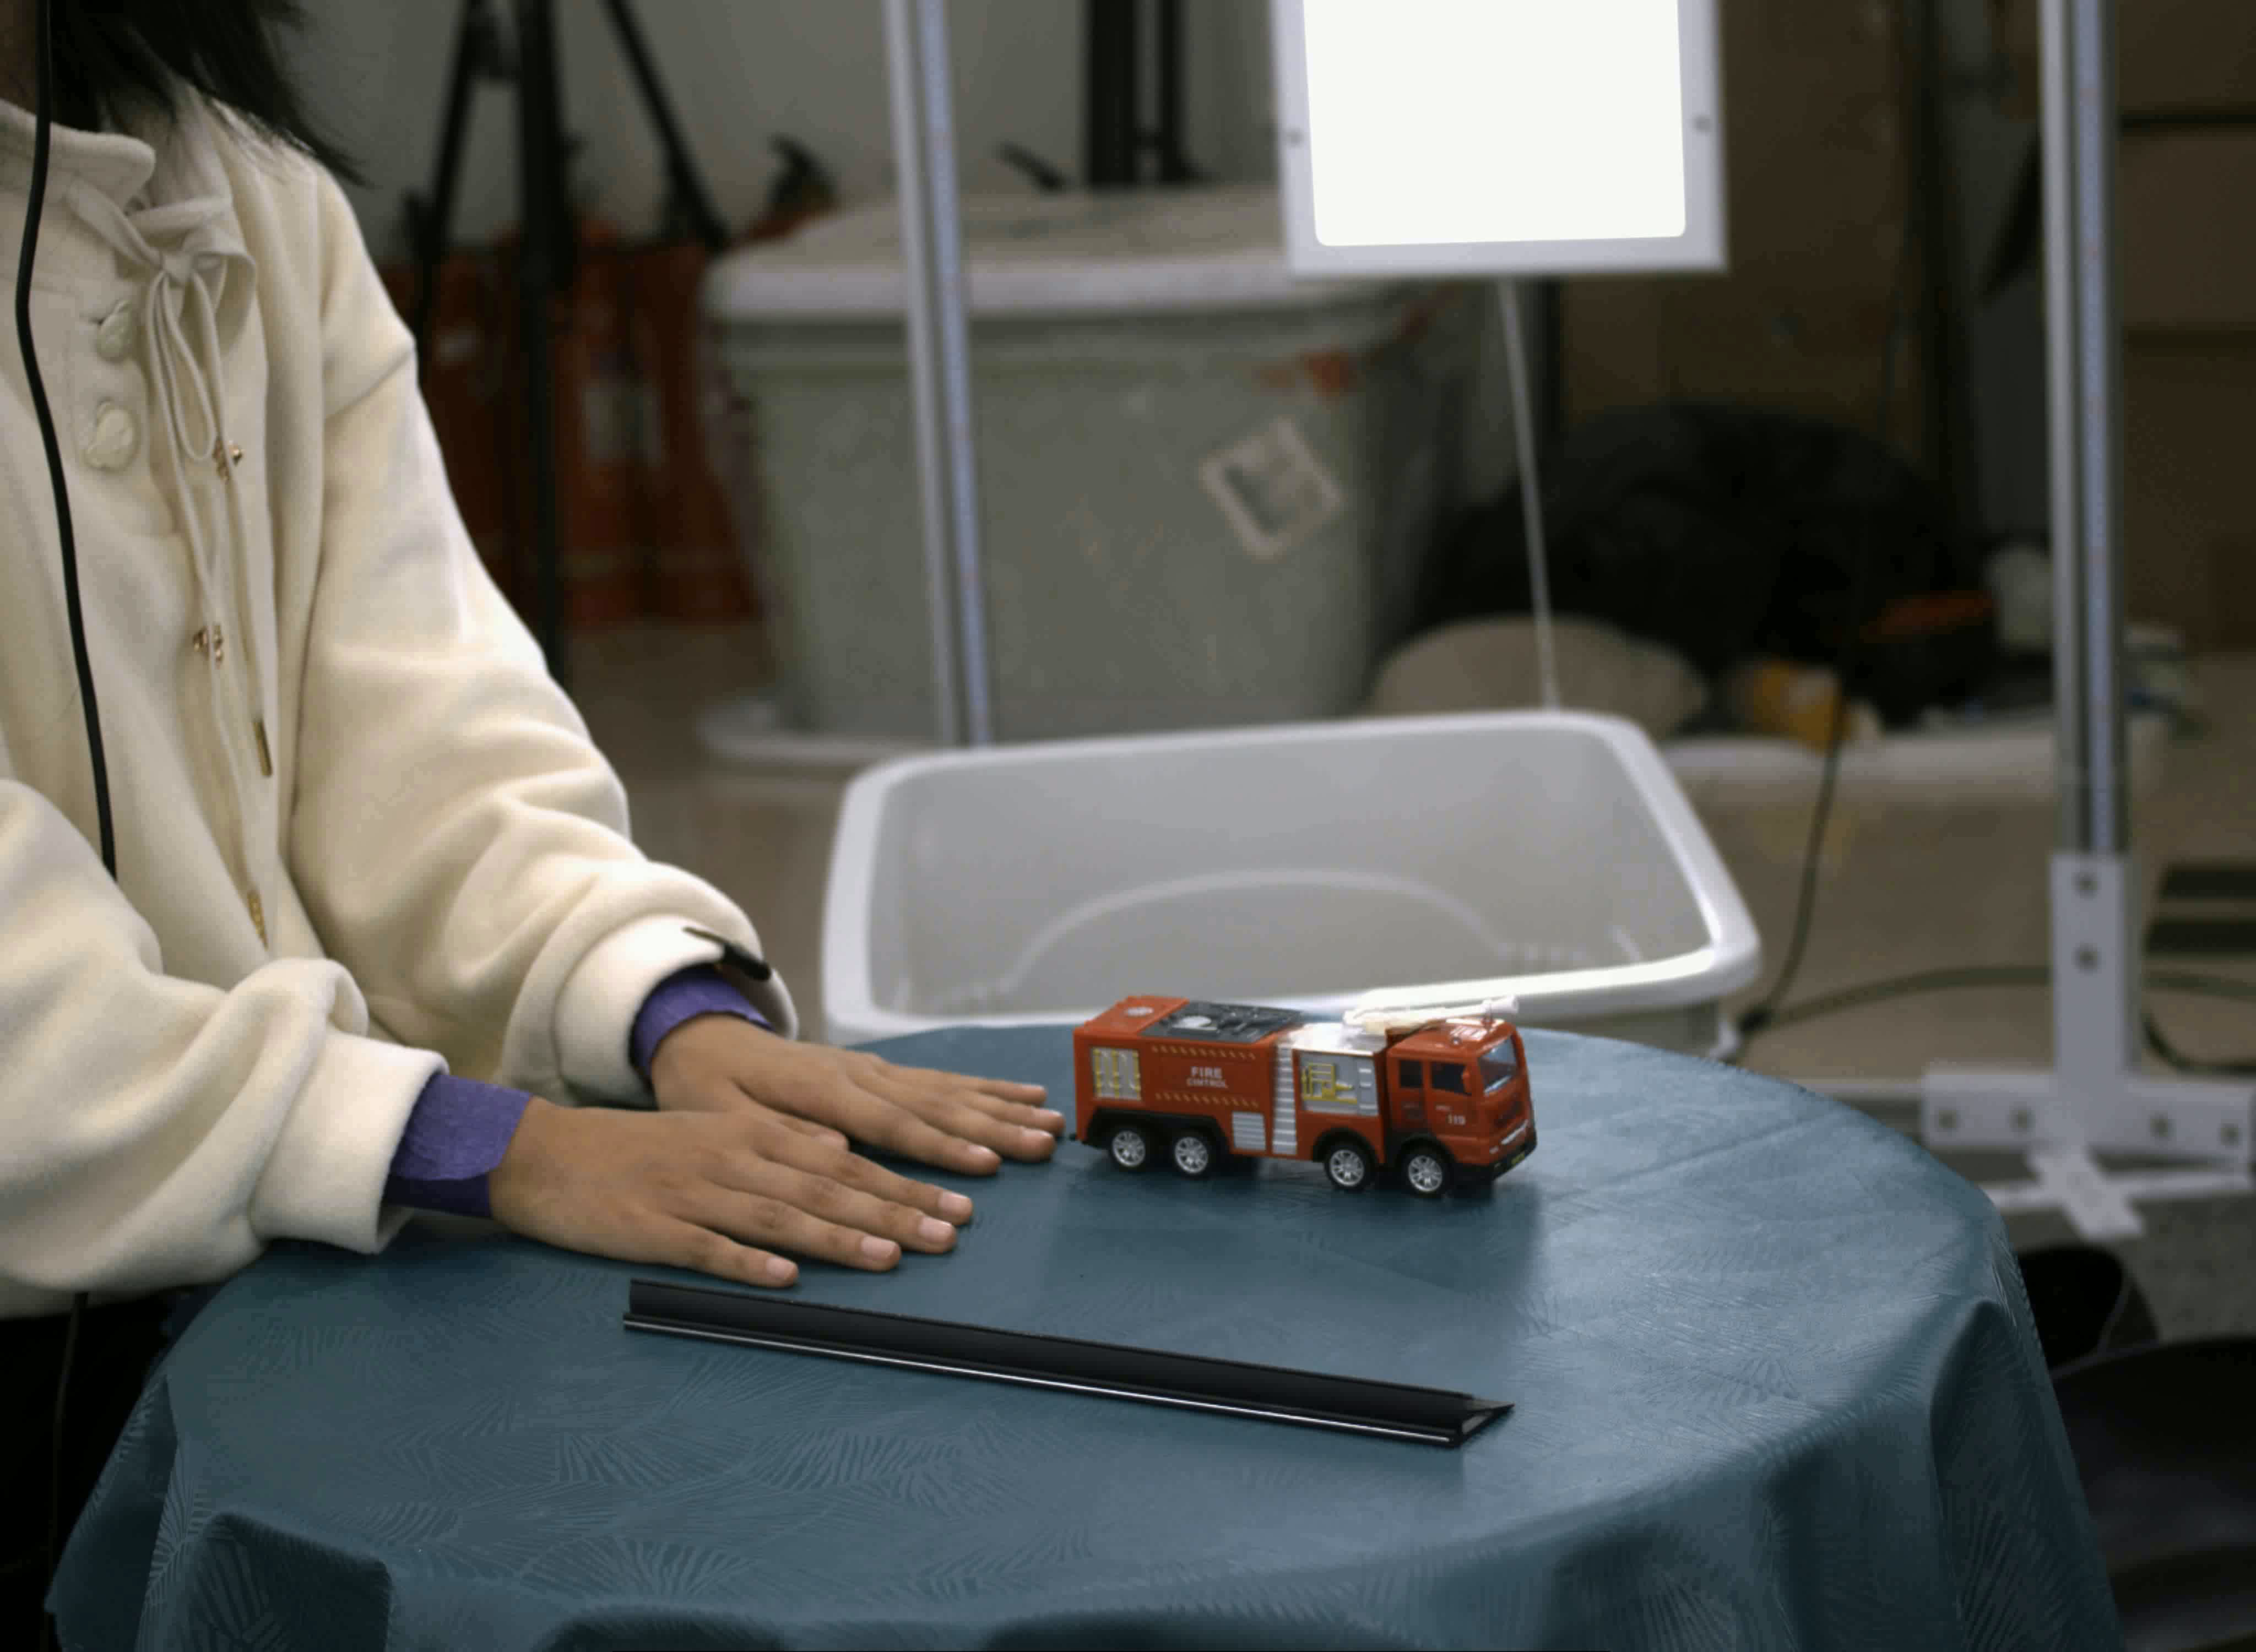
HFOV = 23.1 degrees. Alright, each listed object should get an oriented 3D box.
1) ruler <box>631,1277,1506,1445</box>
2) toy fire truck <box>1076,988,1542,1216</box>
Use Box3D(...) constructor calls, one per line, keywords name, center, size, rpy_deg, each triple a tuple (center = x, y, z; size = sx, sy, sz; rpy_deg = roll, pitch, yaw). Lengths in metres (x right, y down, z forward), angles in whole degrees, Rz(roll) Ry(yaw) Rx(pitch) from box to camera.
Box3D(name="ruler", center=(-0.024, 0.162, 1.727), size=(0.319, 0.017, 0.038), rpy_deg=(4, 12, 35))
Box3D(name="toy fire truck", center=(0.062, 0.091, 1.899), size=(0.171, 0.070, 0.053), rpy_deg=(1, 17, 31))
